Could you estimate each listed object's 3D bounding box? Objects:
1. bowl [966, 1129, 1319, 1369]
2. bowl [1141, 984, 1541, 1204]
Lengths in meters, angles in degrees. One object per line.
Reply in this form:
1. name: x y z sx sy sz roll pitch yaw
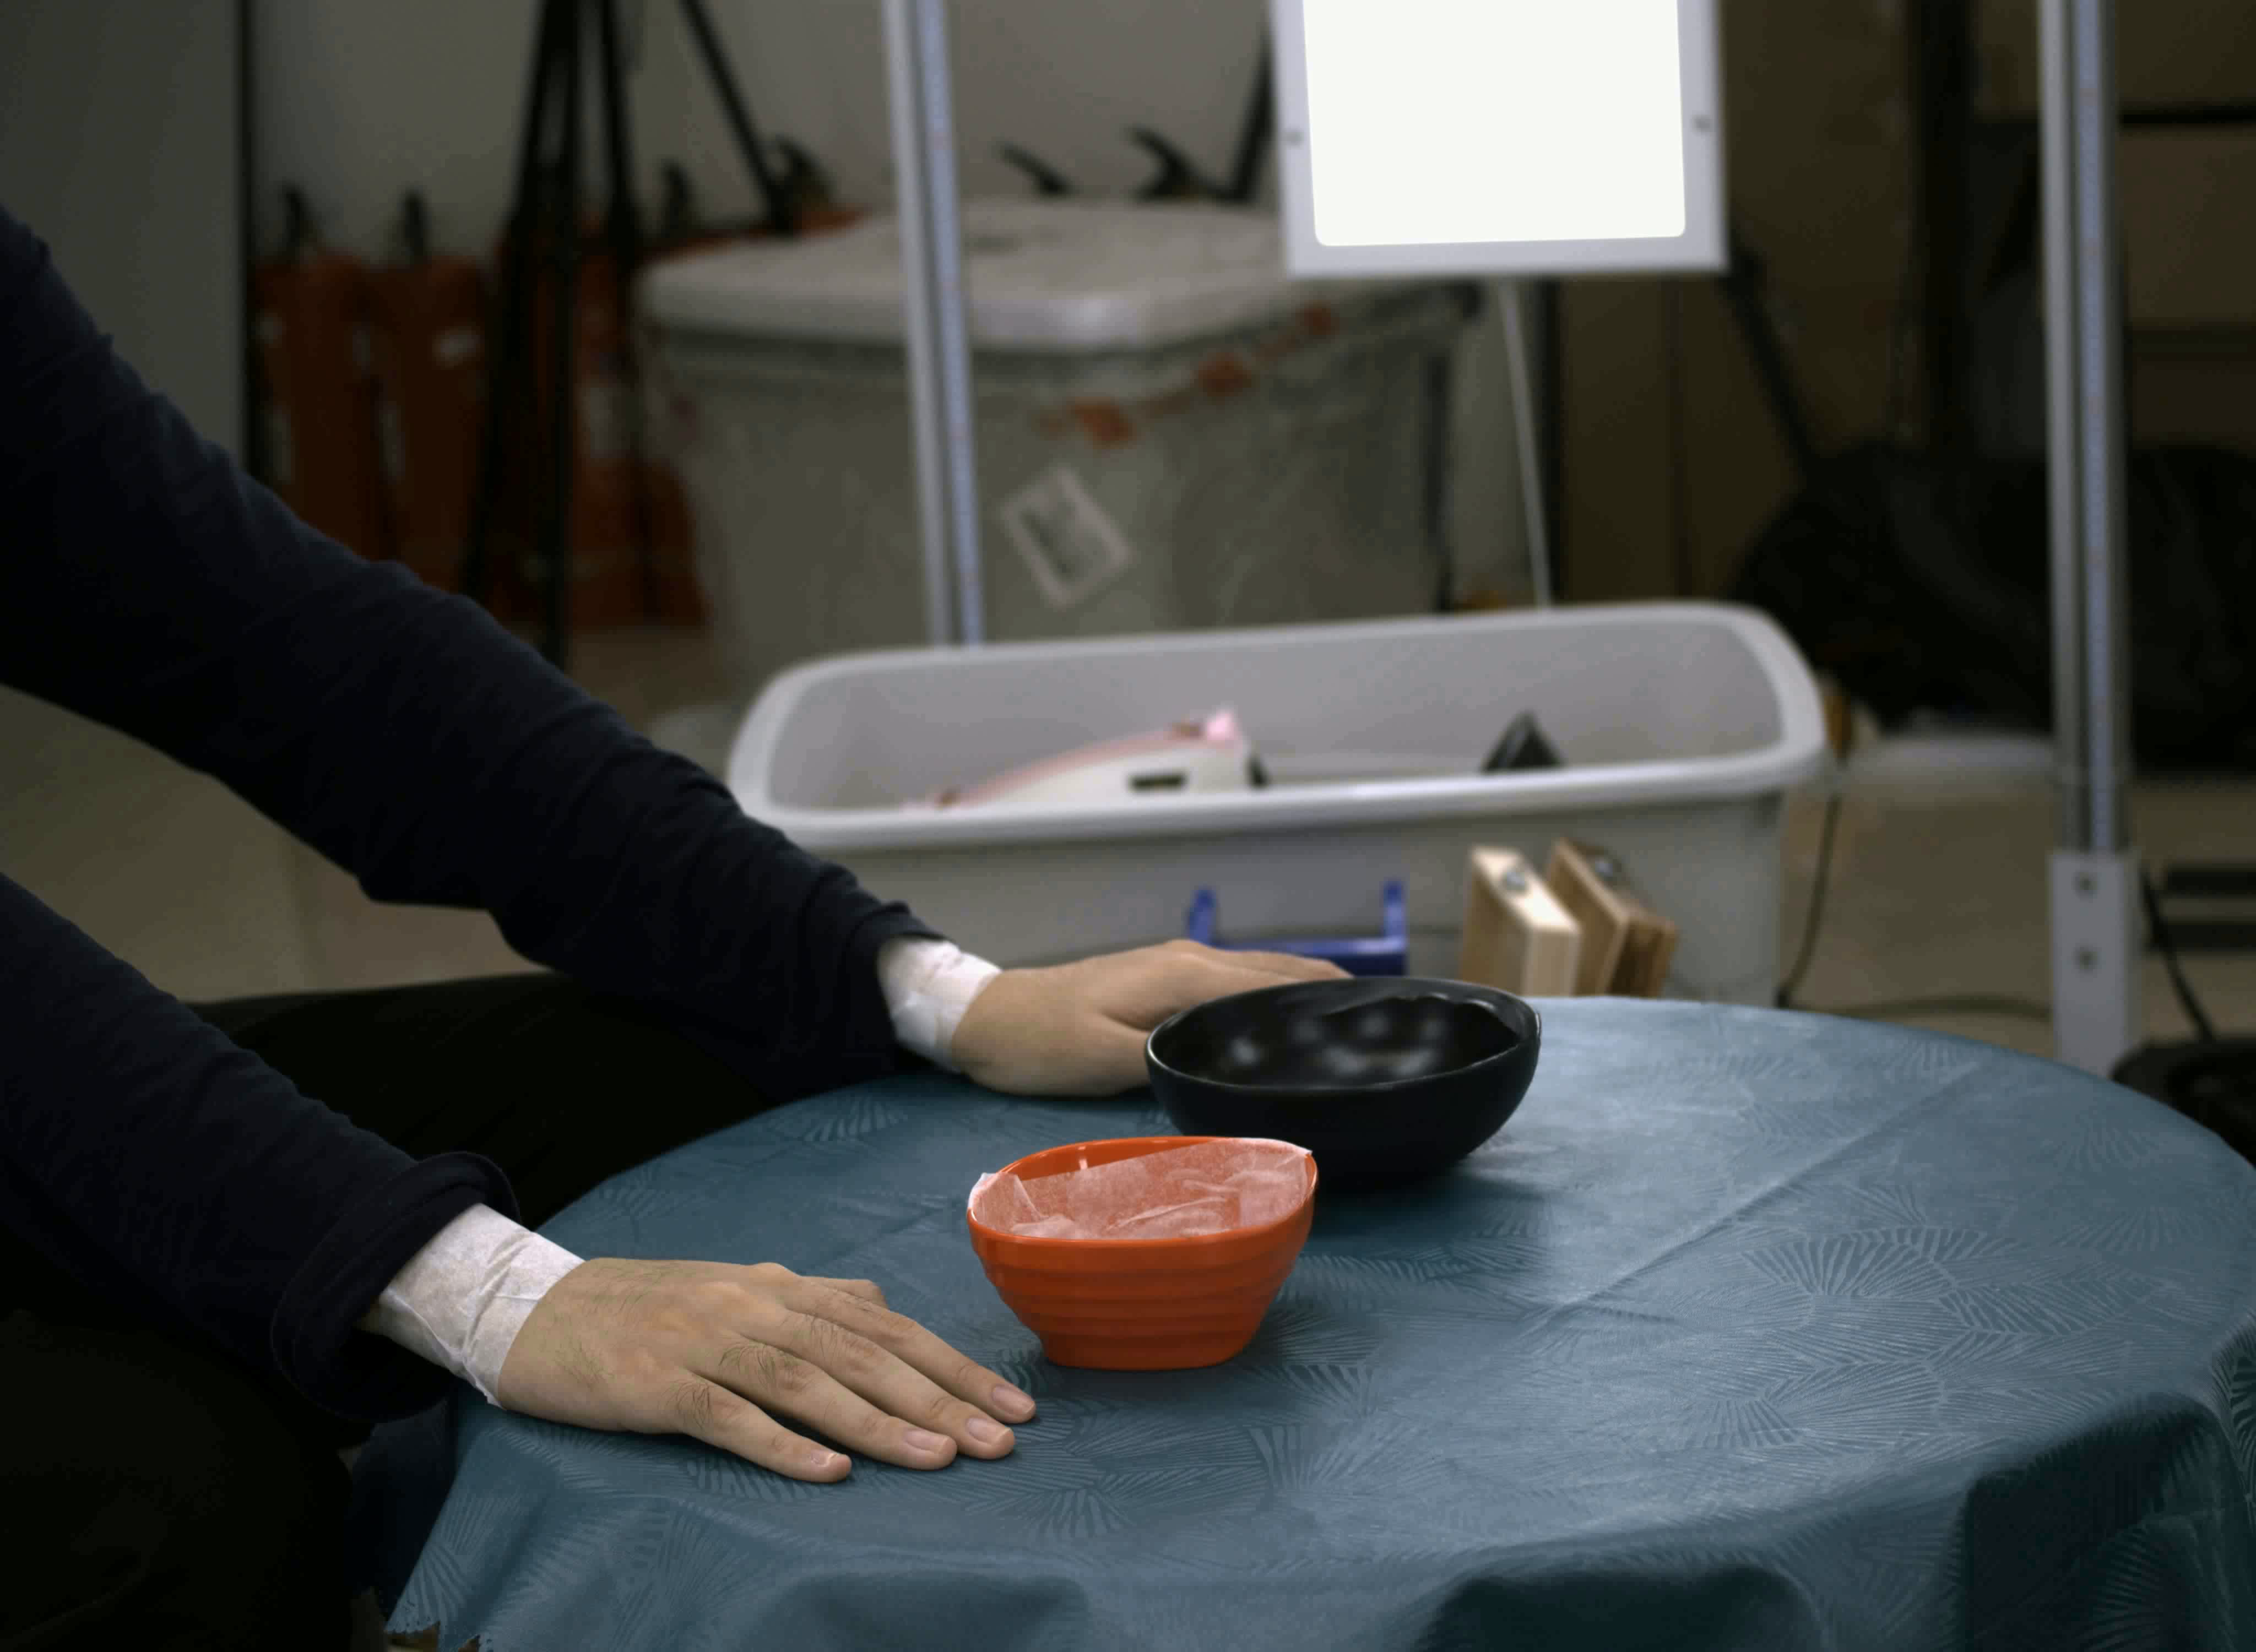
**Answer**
1. bowl: 0.006 0.137 1.748 0.118 0.051 0.119 -4 15 0
2. bowl: 0.077 0.097 1.906 0.140 0.050 0.140 -9 12 1
